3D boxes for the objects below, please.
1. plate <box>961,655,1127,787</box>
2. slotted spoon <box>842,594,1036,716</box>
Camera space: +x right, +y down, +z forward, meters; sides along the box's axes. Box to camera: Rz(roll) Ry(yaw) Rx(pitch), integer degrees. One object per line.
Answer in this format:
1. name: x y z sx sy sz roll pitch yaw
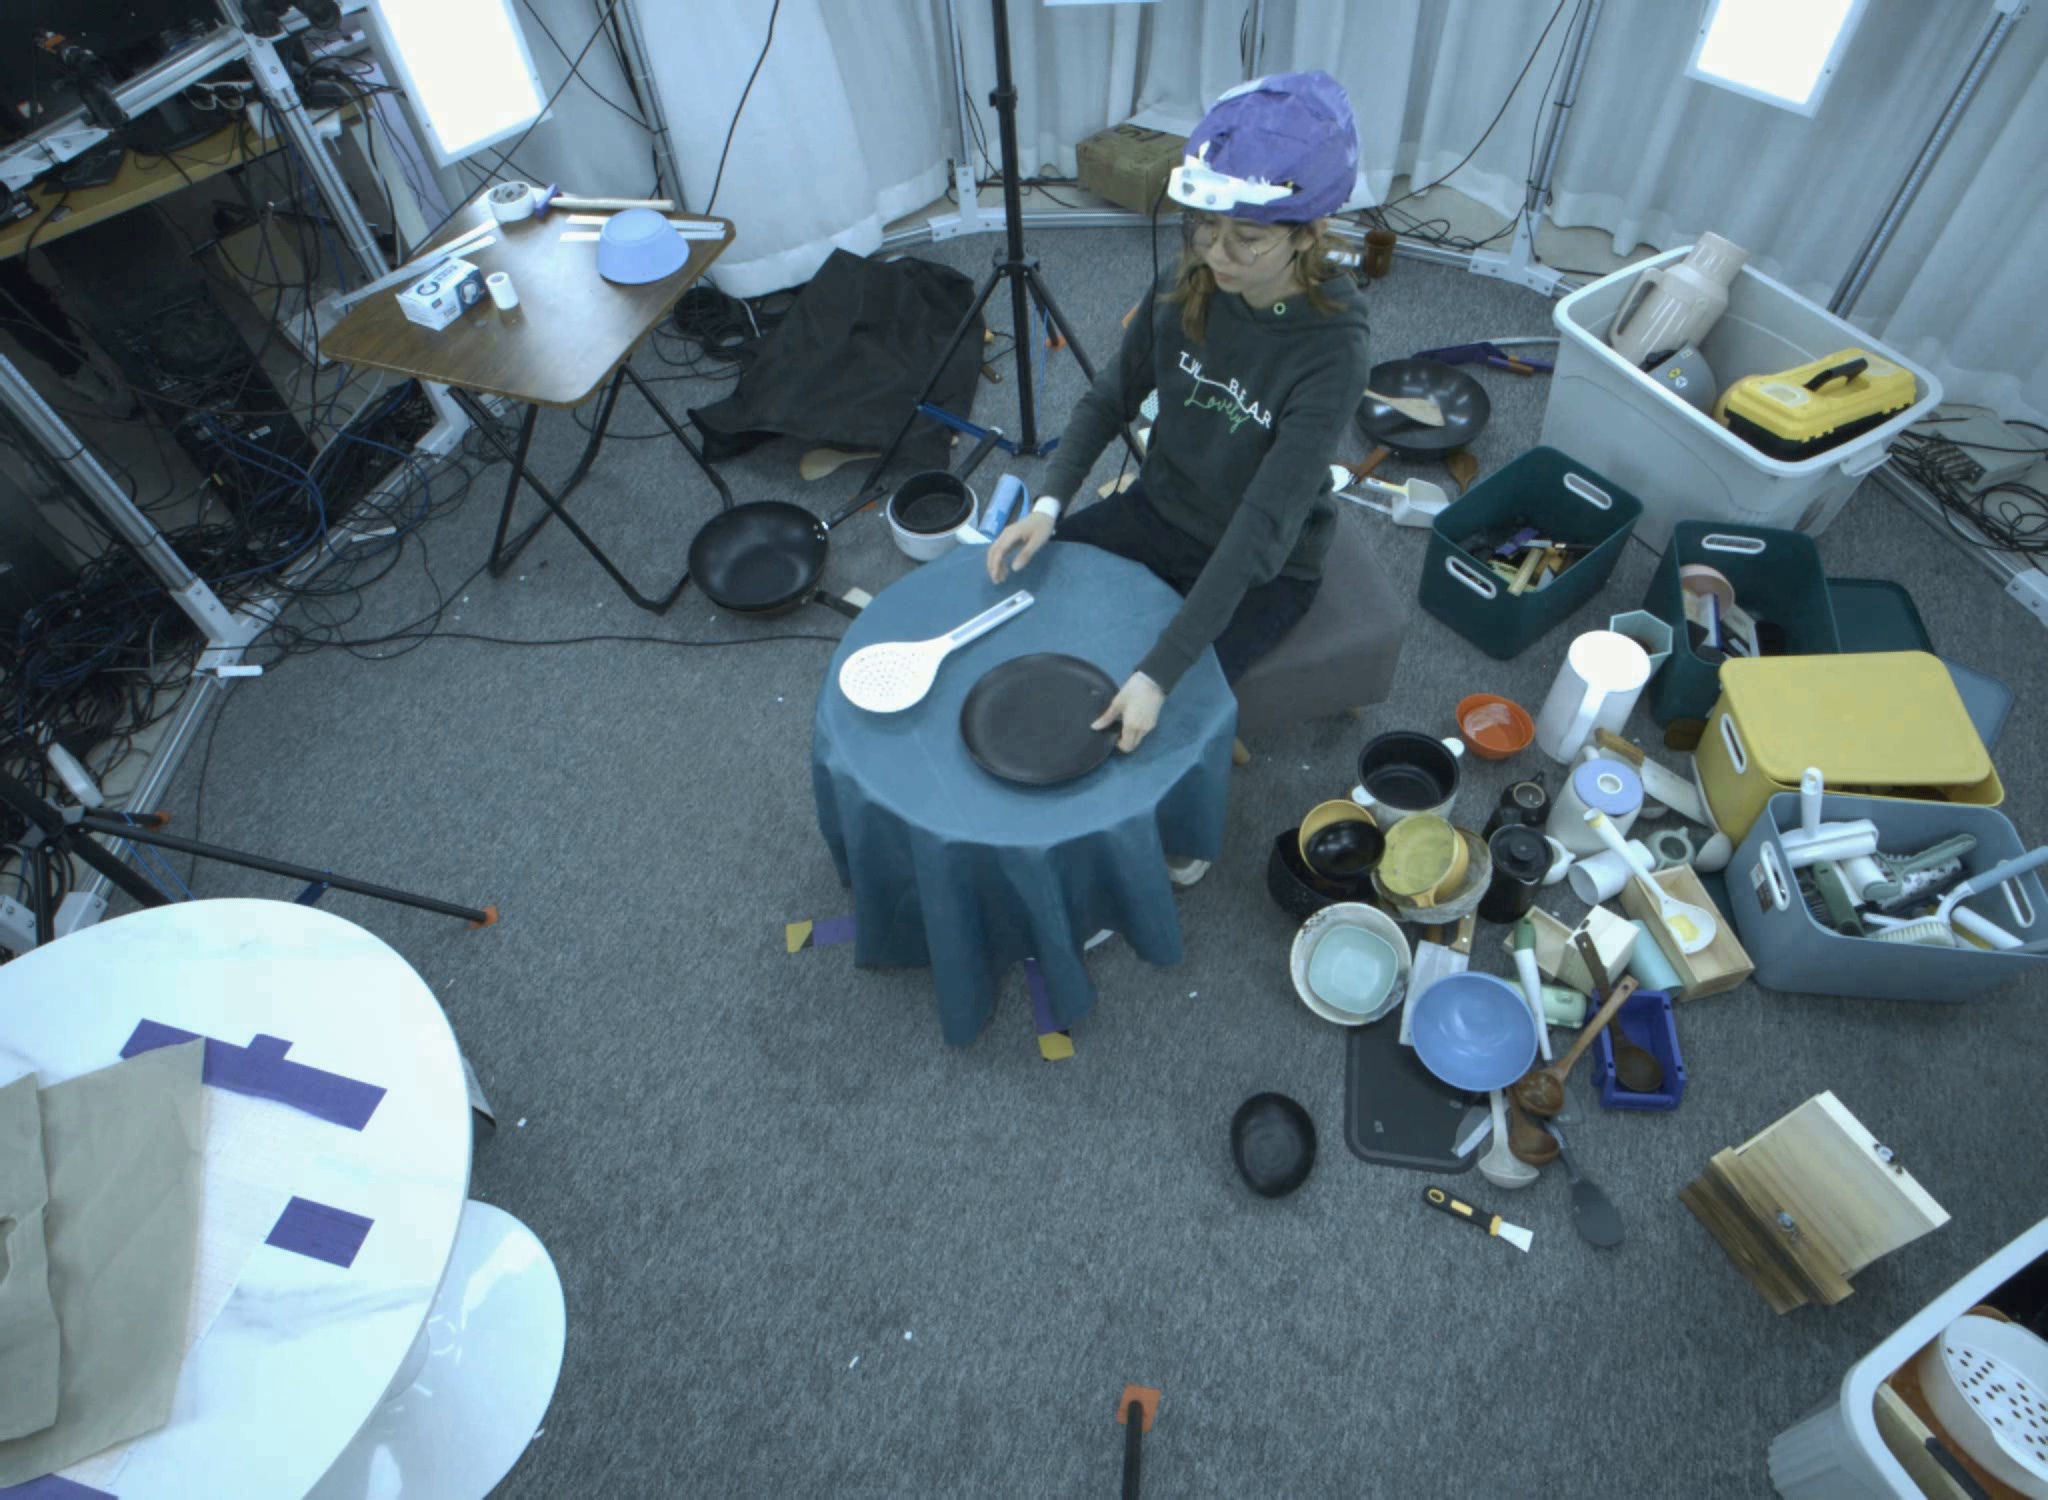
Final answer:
1. plate: 0.028 -0.040 1.808 0.244 0.024 0.242 -1 54 3
2. slotted spoon: -0.123 -0.155 1.882 0.352 0.046 0.134 -35 63 -22
